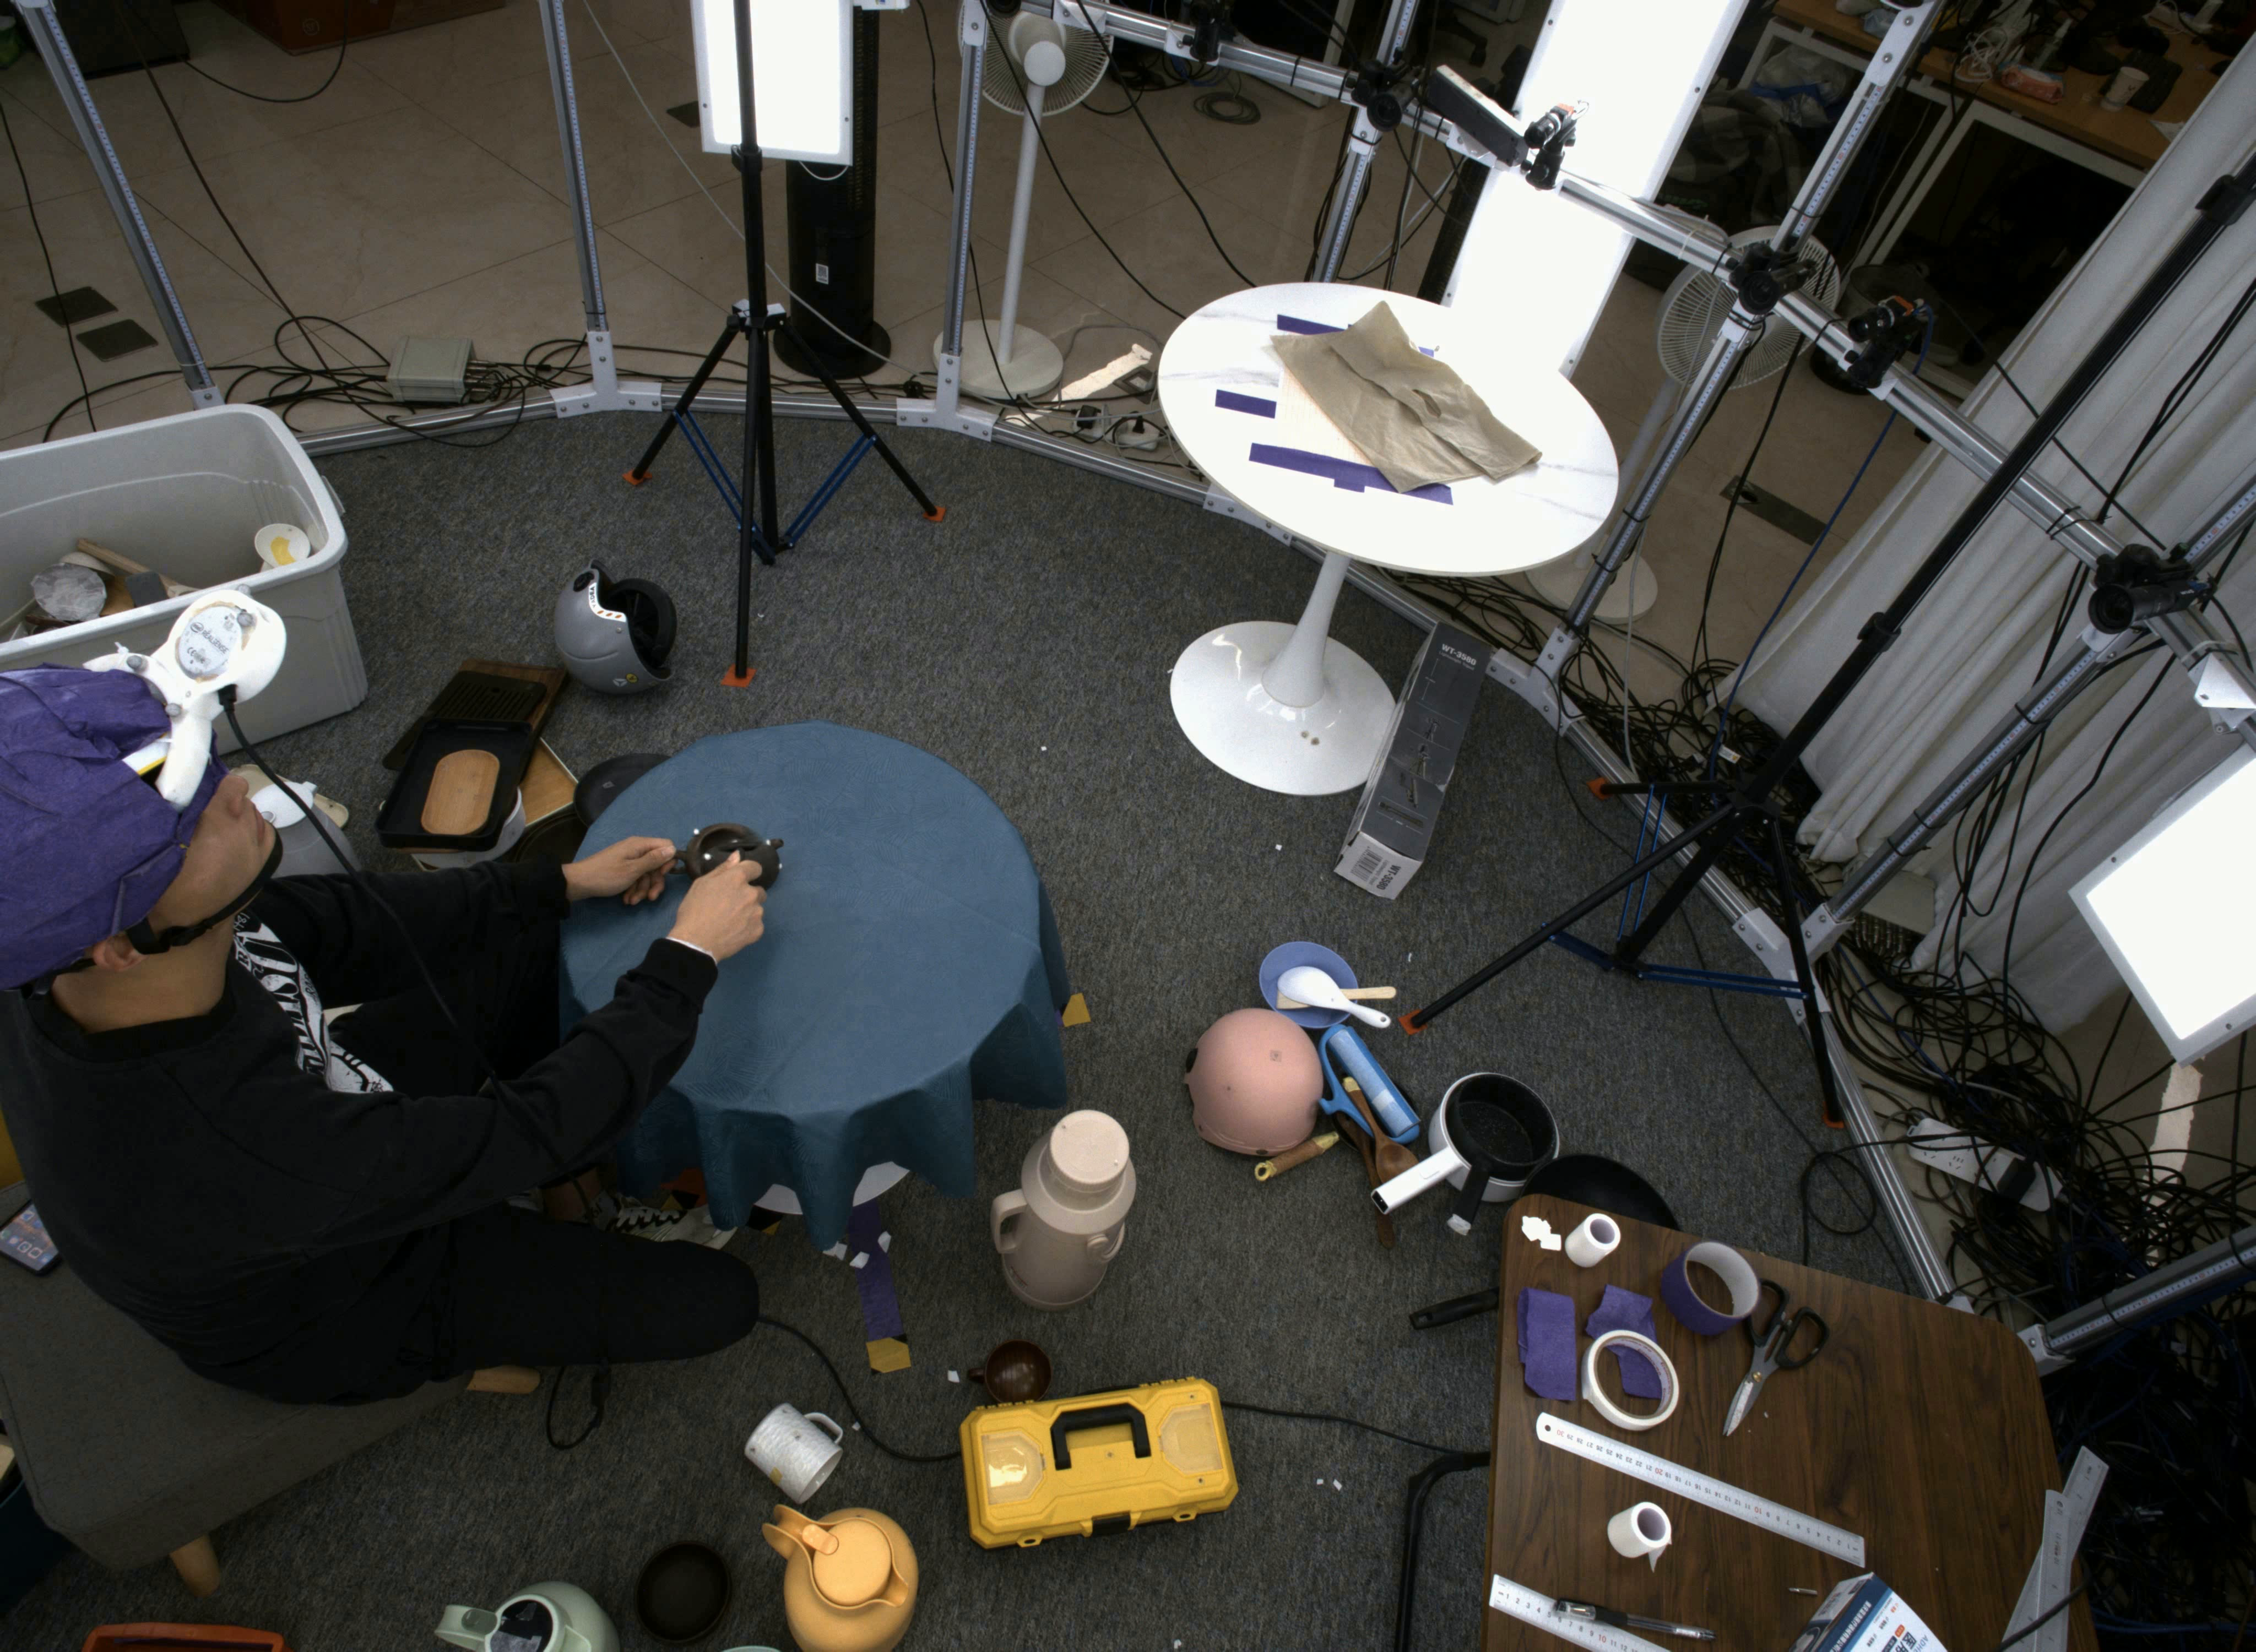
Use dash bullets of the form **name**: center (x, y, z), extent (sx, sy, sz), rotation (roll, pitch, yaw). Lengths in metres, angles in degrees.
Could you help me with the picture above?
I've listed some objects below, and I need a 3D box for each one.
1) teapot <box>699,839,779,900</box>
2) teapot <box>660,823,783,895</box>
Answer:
- **teapot**: center (-0.459, 0.049, 1.525), extent (0.092, 0.066, 0.150), rotation (-6, 13, -15)
- **teapot**: center (-0.513, 0.039, 1.631), extent (0.154, 0.055, 0.100), rotation (-9, 54, -24)
